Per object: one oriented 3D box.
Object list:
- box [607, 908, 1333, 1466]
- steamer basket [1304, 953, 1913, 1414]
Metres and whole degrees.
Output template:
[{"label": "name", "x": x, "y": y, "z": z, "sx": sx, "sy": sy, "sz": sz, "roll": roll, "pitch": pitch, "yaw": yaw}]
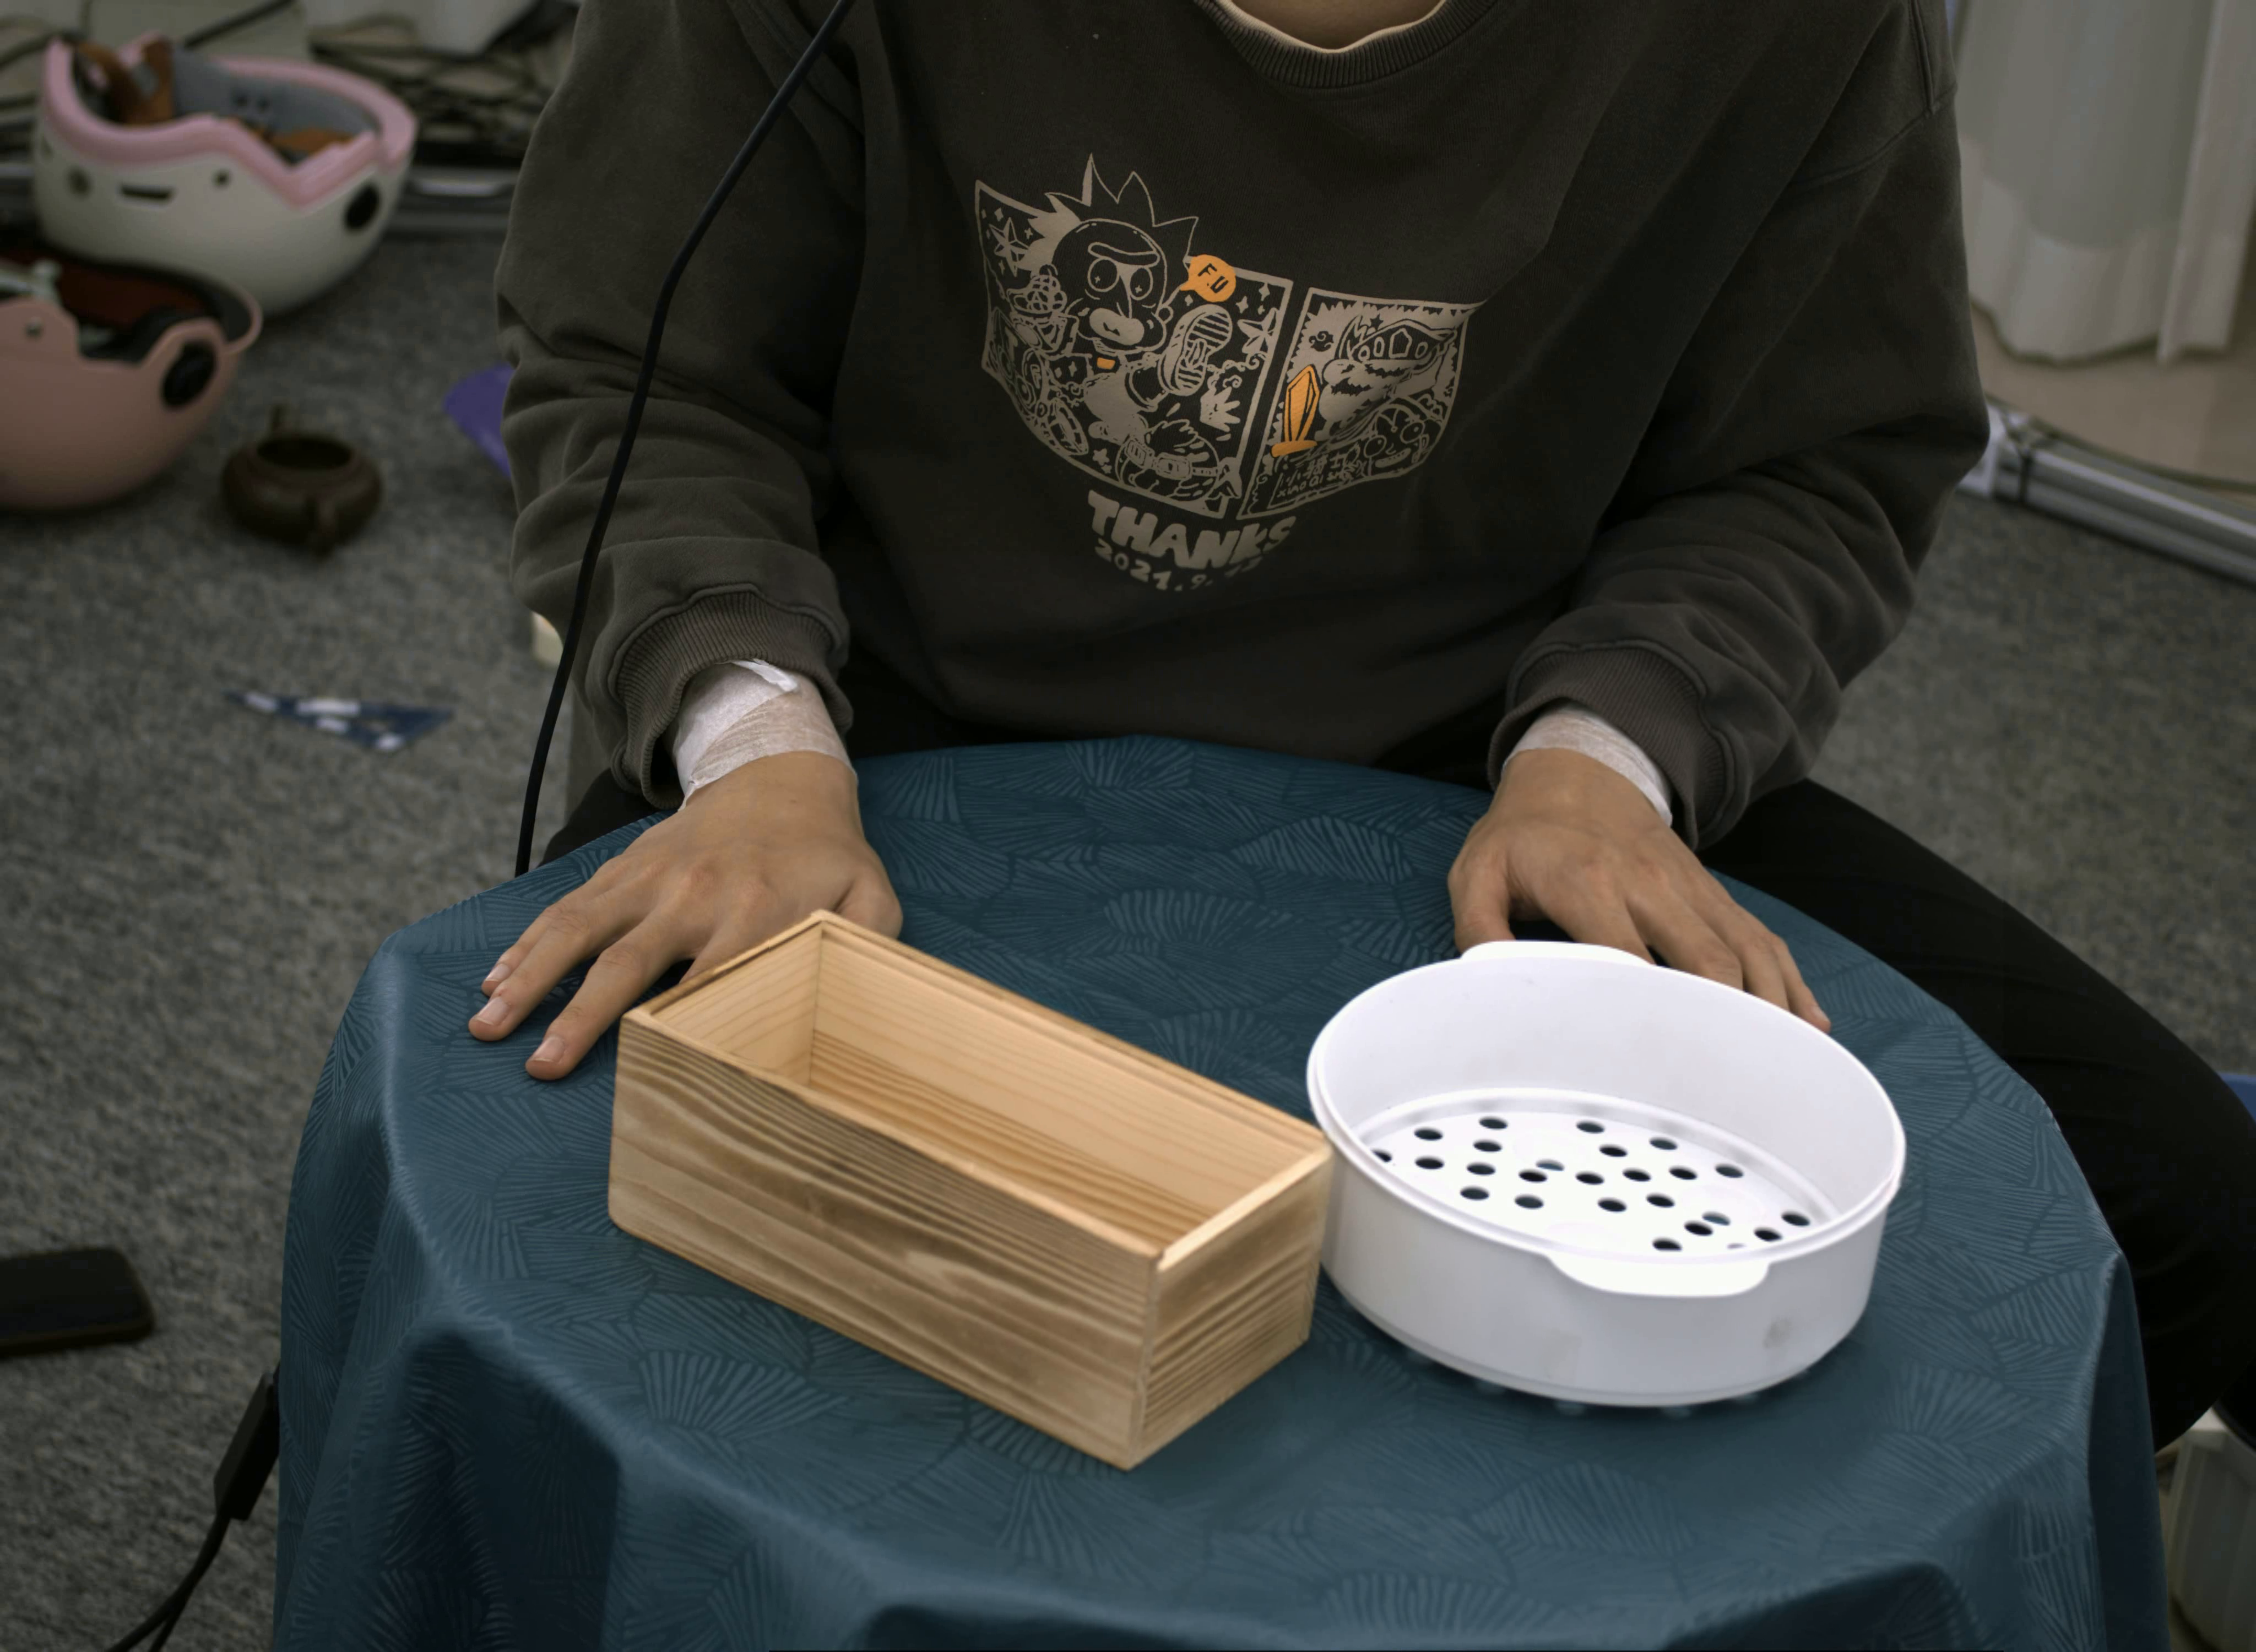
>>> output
[{"label": "box", "x": -0.053, "y": 0.113, "z": 1.723, "sx": 0.212, "sy": 0.080, "sz": 0.107, "roll": 22, "pitch": 30, "yaw": 29}, {"label": "steamer basket", "x": 0.156, "y": 0.120, "z": 1.770, "sx": 0.201, "sy": 0.069, "sz": 0.232, "roll": 3, "pitch": 26, "yaw": -7}]
